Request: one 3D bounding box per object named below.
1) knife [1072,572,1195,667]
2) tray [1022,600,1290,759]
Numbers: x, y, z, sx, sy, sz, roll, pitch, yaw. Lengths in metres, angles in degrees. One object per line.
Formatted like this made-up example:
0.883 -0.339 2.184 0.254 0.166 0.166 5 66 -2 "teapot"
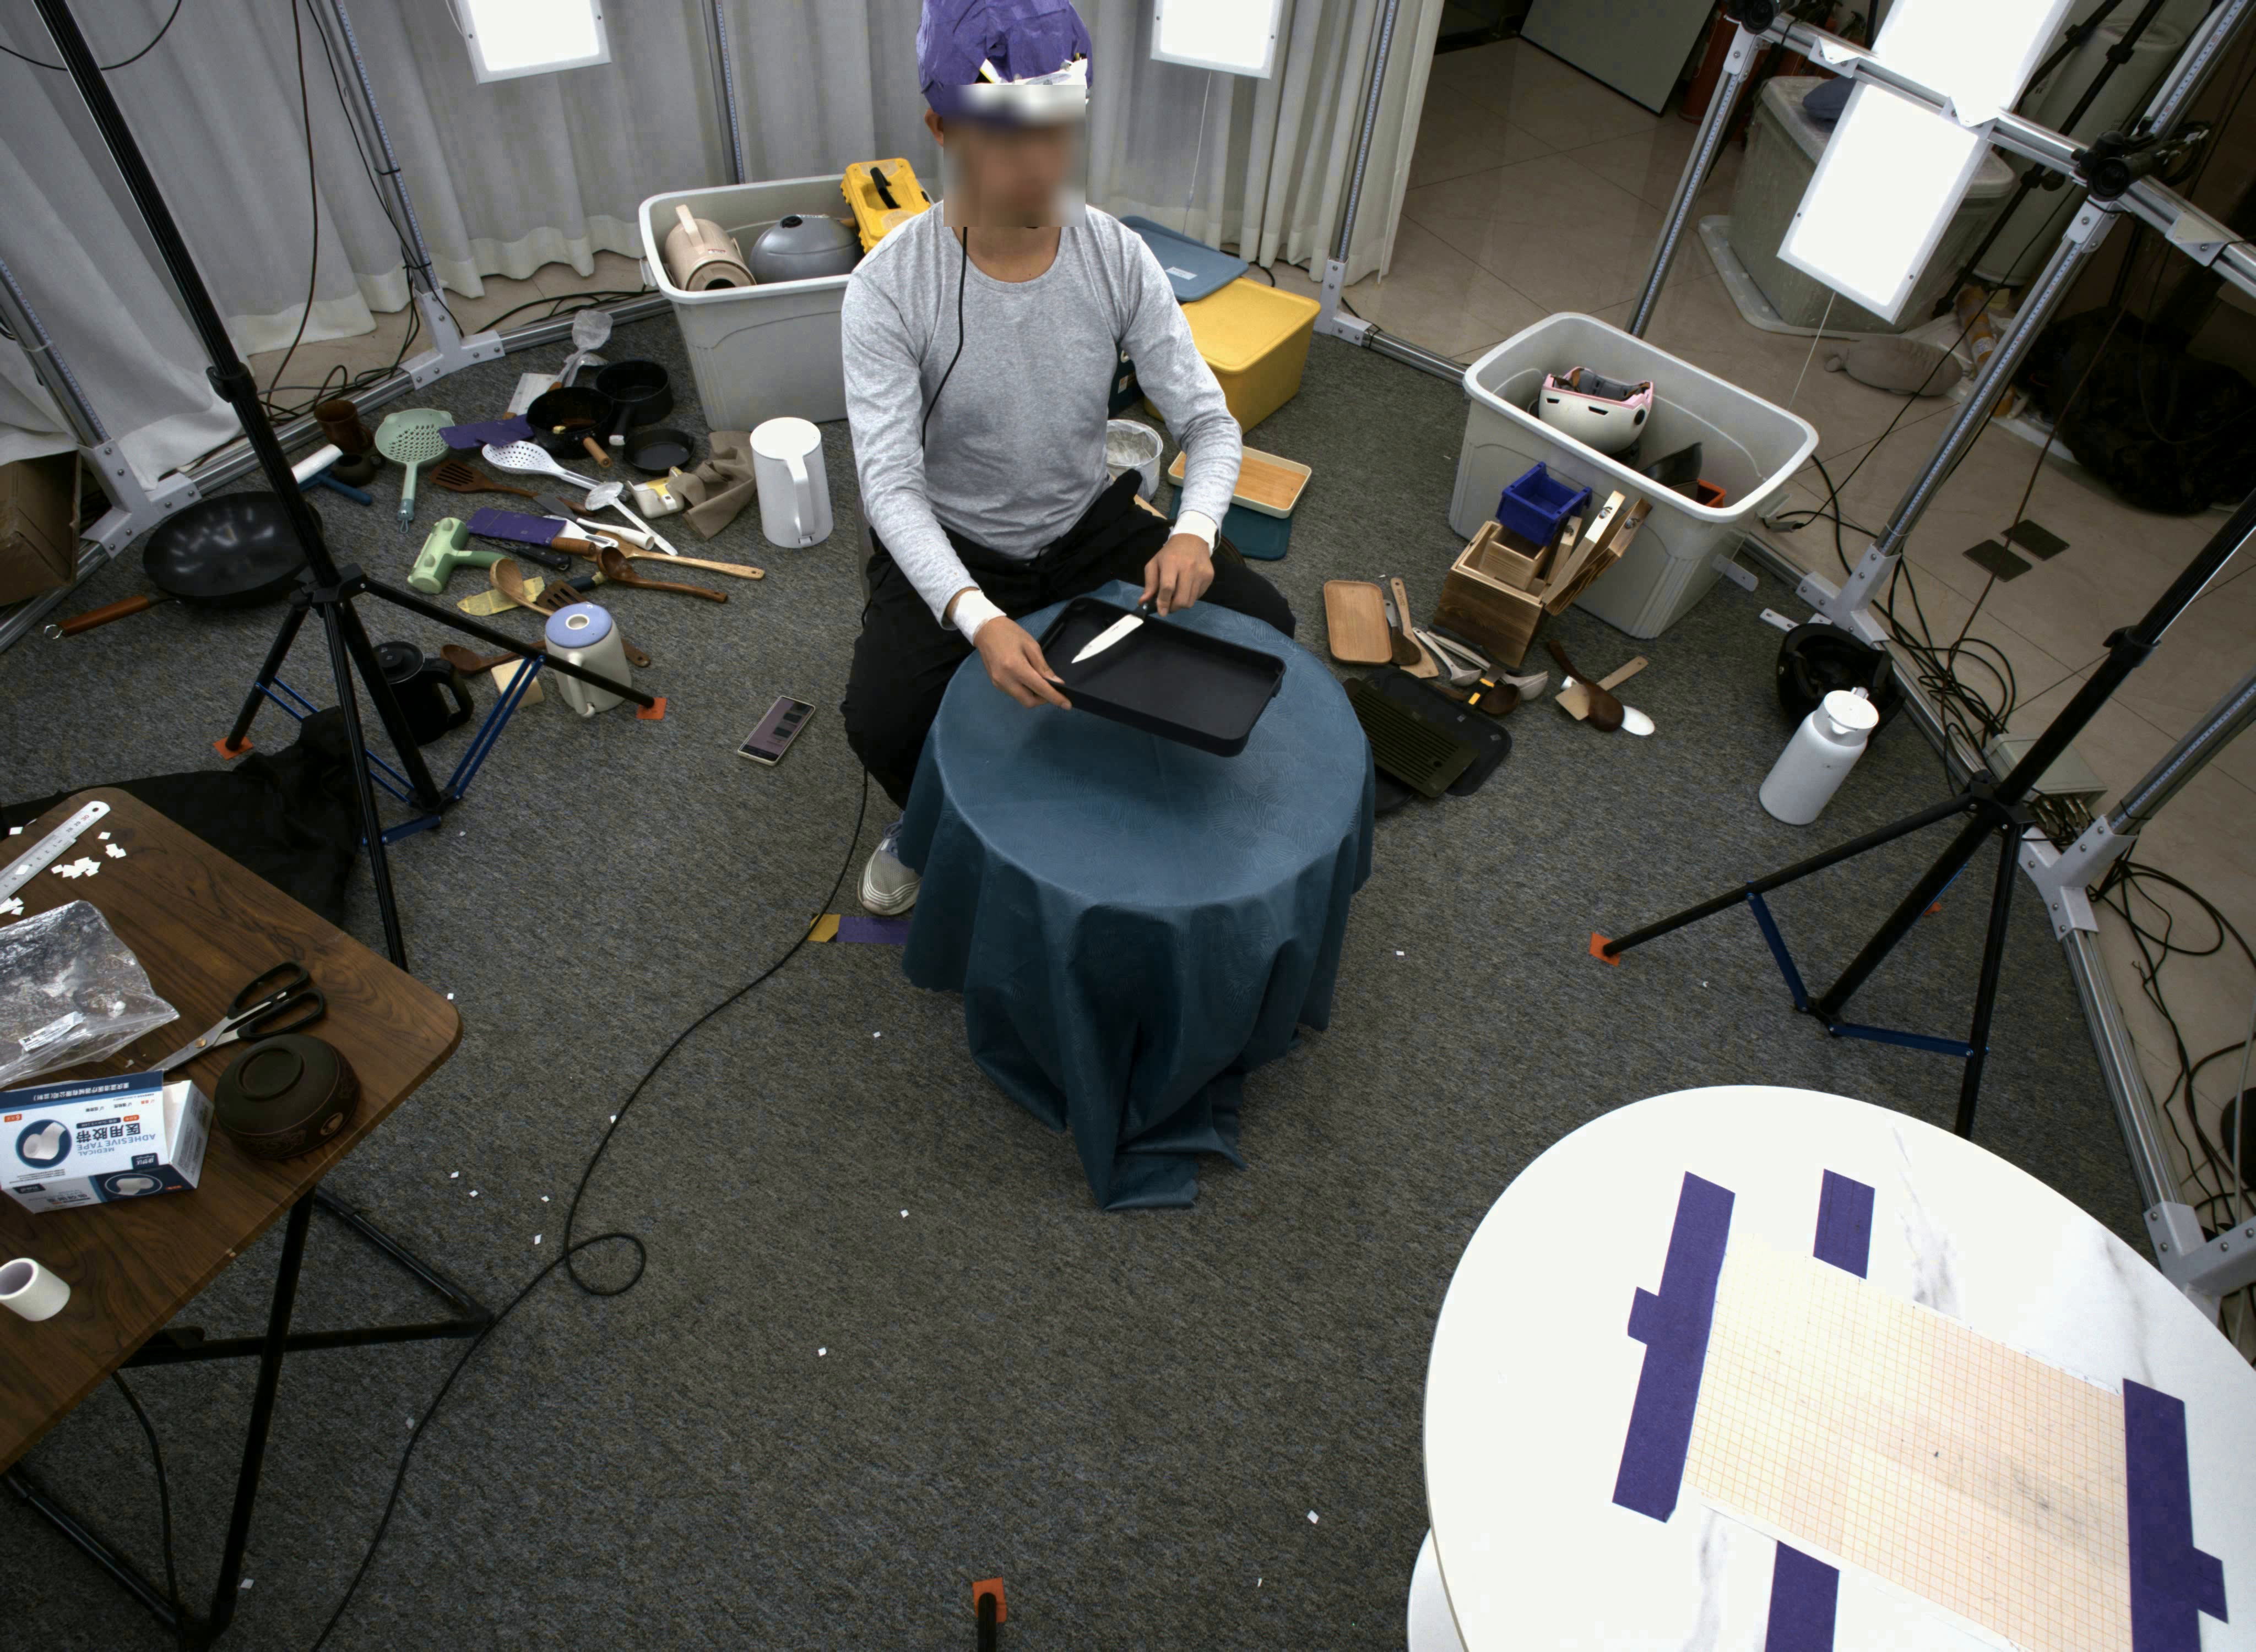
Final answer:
0.006 -0.280 1.732 0.024 0.016 0.240 45 62 8 "knife"
0.037 -0.197 1.685 0.320 0.036 0.187 18 48 17 "tray"
